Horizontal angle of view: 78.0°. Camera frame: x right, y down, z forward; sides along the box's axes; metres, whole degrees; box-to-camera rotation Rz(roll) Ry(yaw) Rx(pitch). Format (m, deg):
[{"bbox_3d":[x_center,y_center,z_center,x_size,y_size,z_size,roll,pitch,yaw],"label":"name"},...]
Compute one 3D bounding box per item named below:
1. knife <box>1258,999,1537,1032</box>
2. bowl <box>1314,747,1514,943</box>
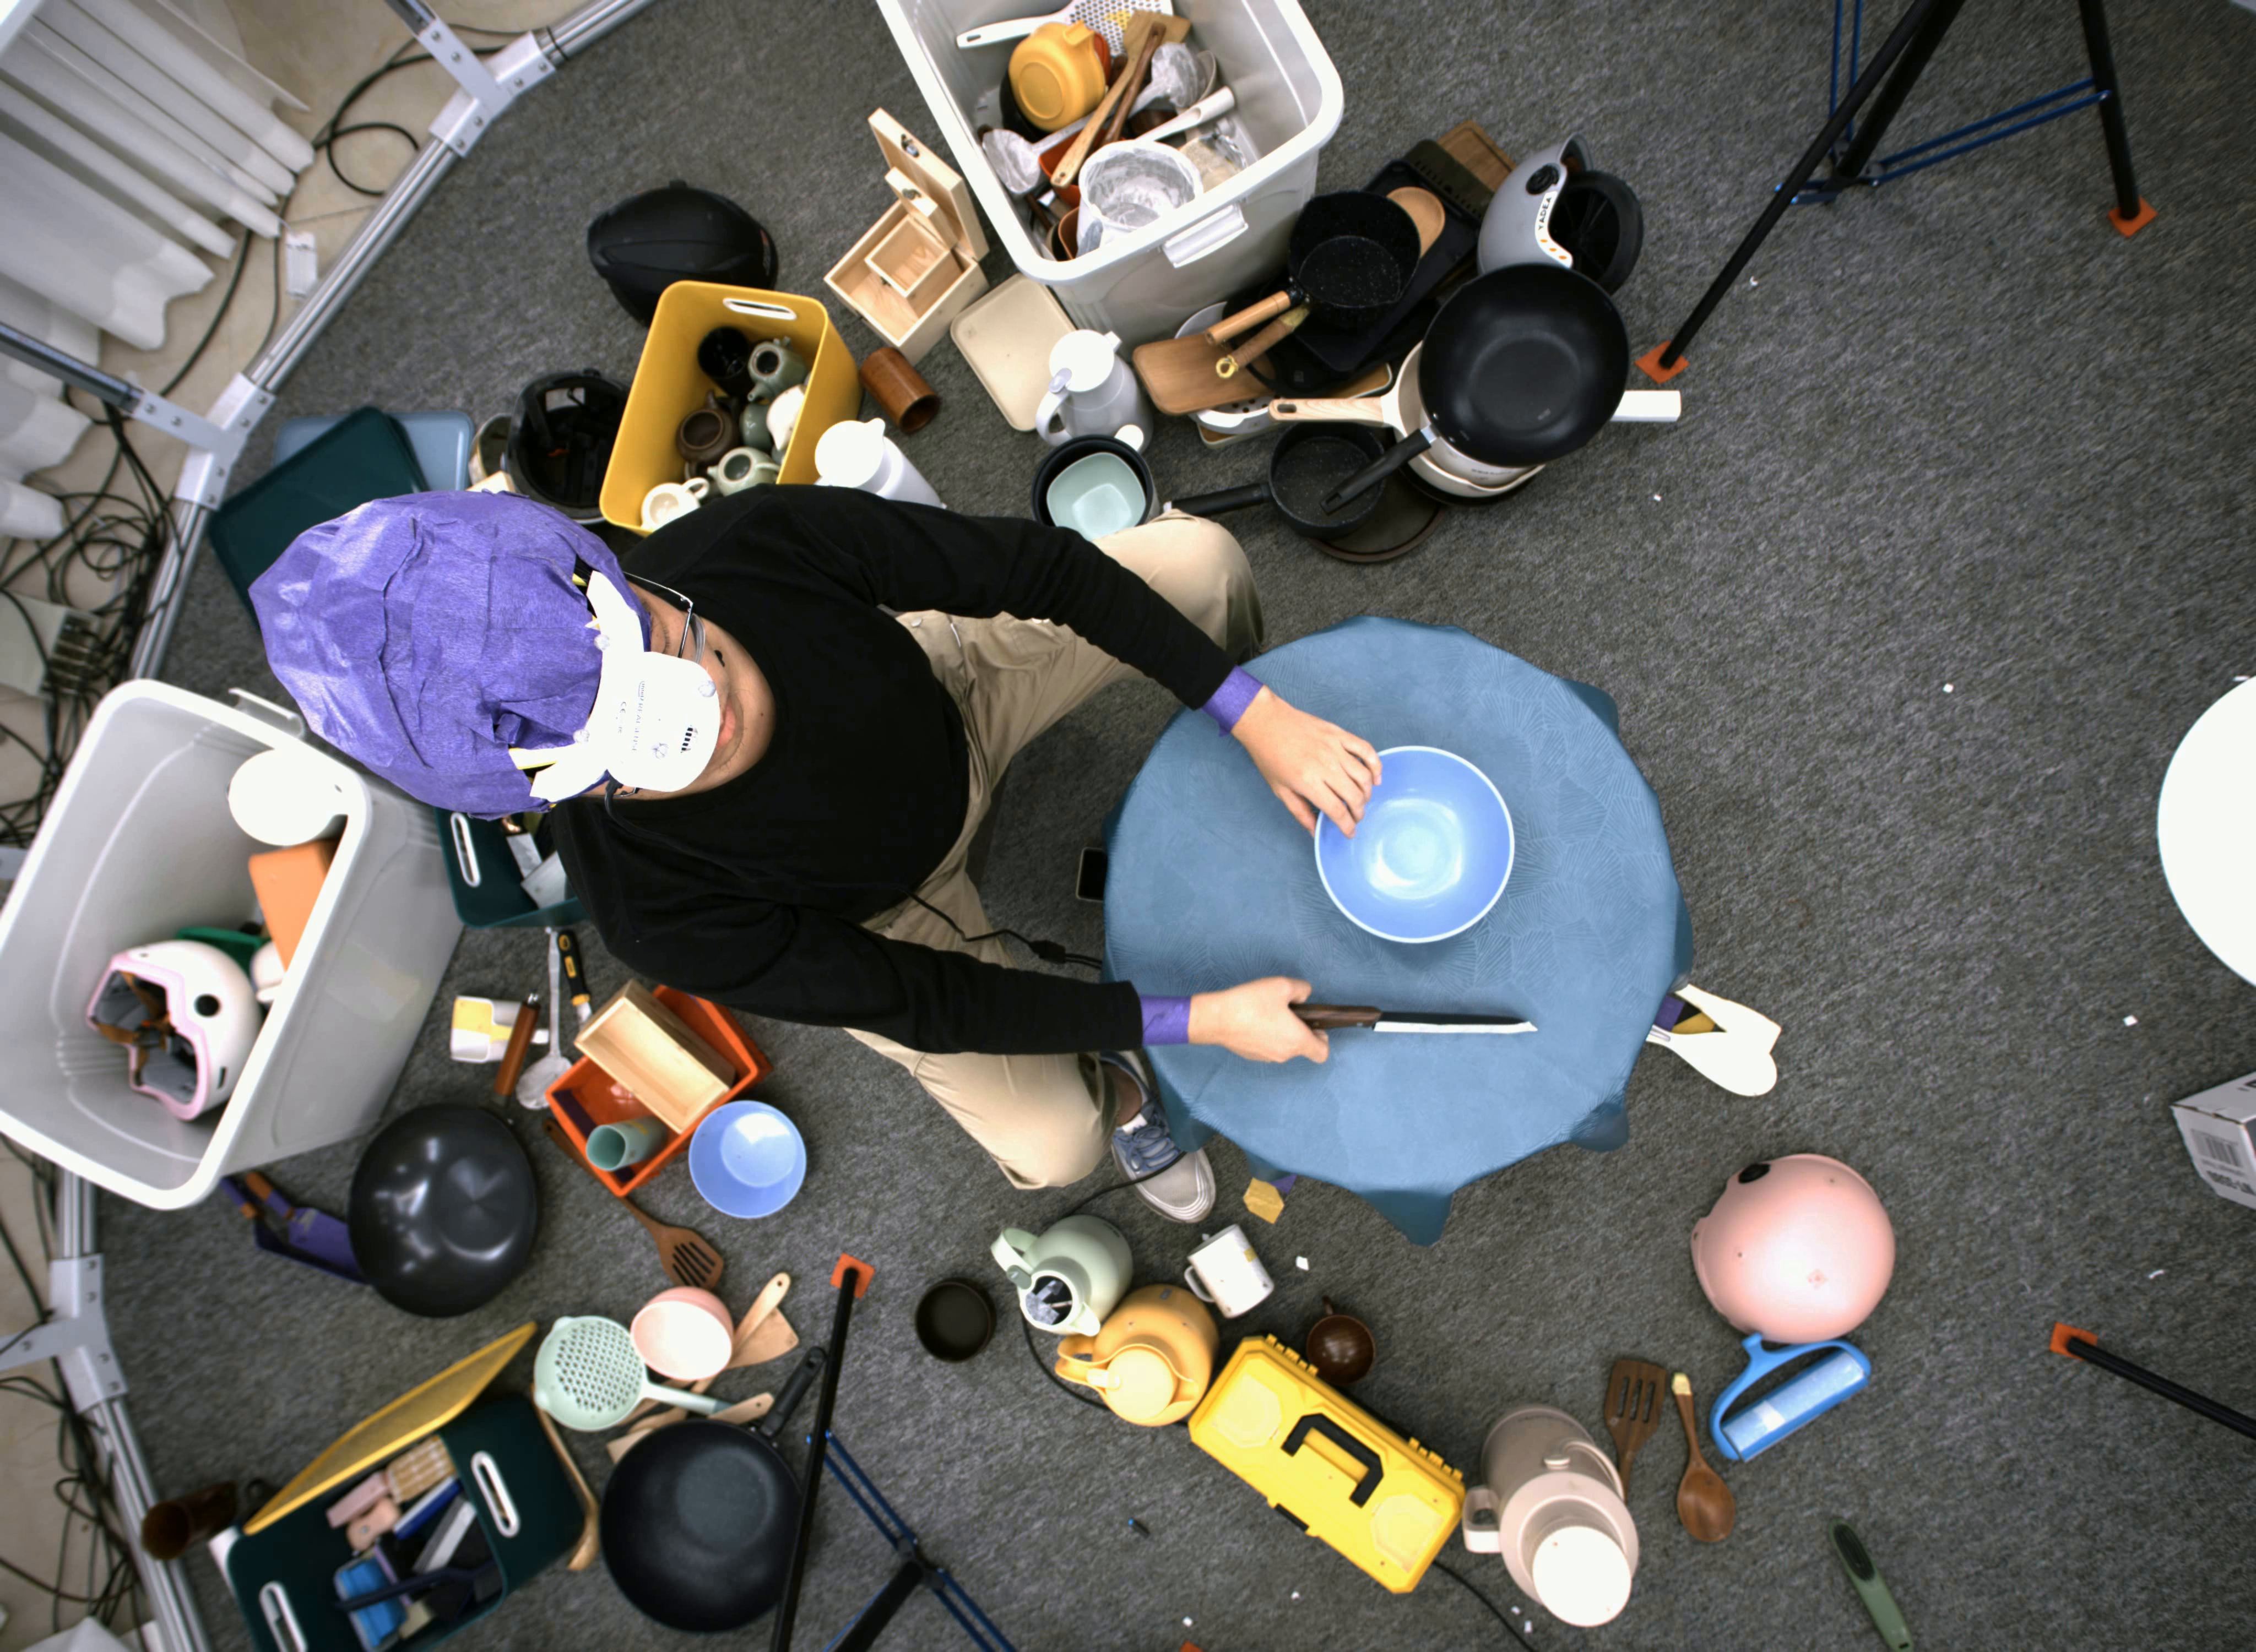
[{"bbox_3d":[0.278,0.197,1.425,0.289,0.051,0.019,3,54,3],"label":"knife"},{"bbox_3d":[0.292,0.021,1.414,0.197,0.095,0.196,-1,87,12],"label":"bowl"}]
